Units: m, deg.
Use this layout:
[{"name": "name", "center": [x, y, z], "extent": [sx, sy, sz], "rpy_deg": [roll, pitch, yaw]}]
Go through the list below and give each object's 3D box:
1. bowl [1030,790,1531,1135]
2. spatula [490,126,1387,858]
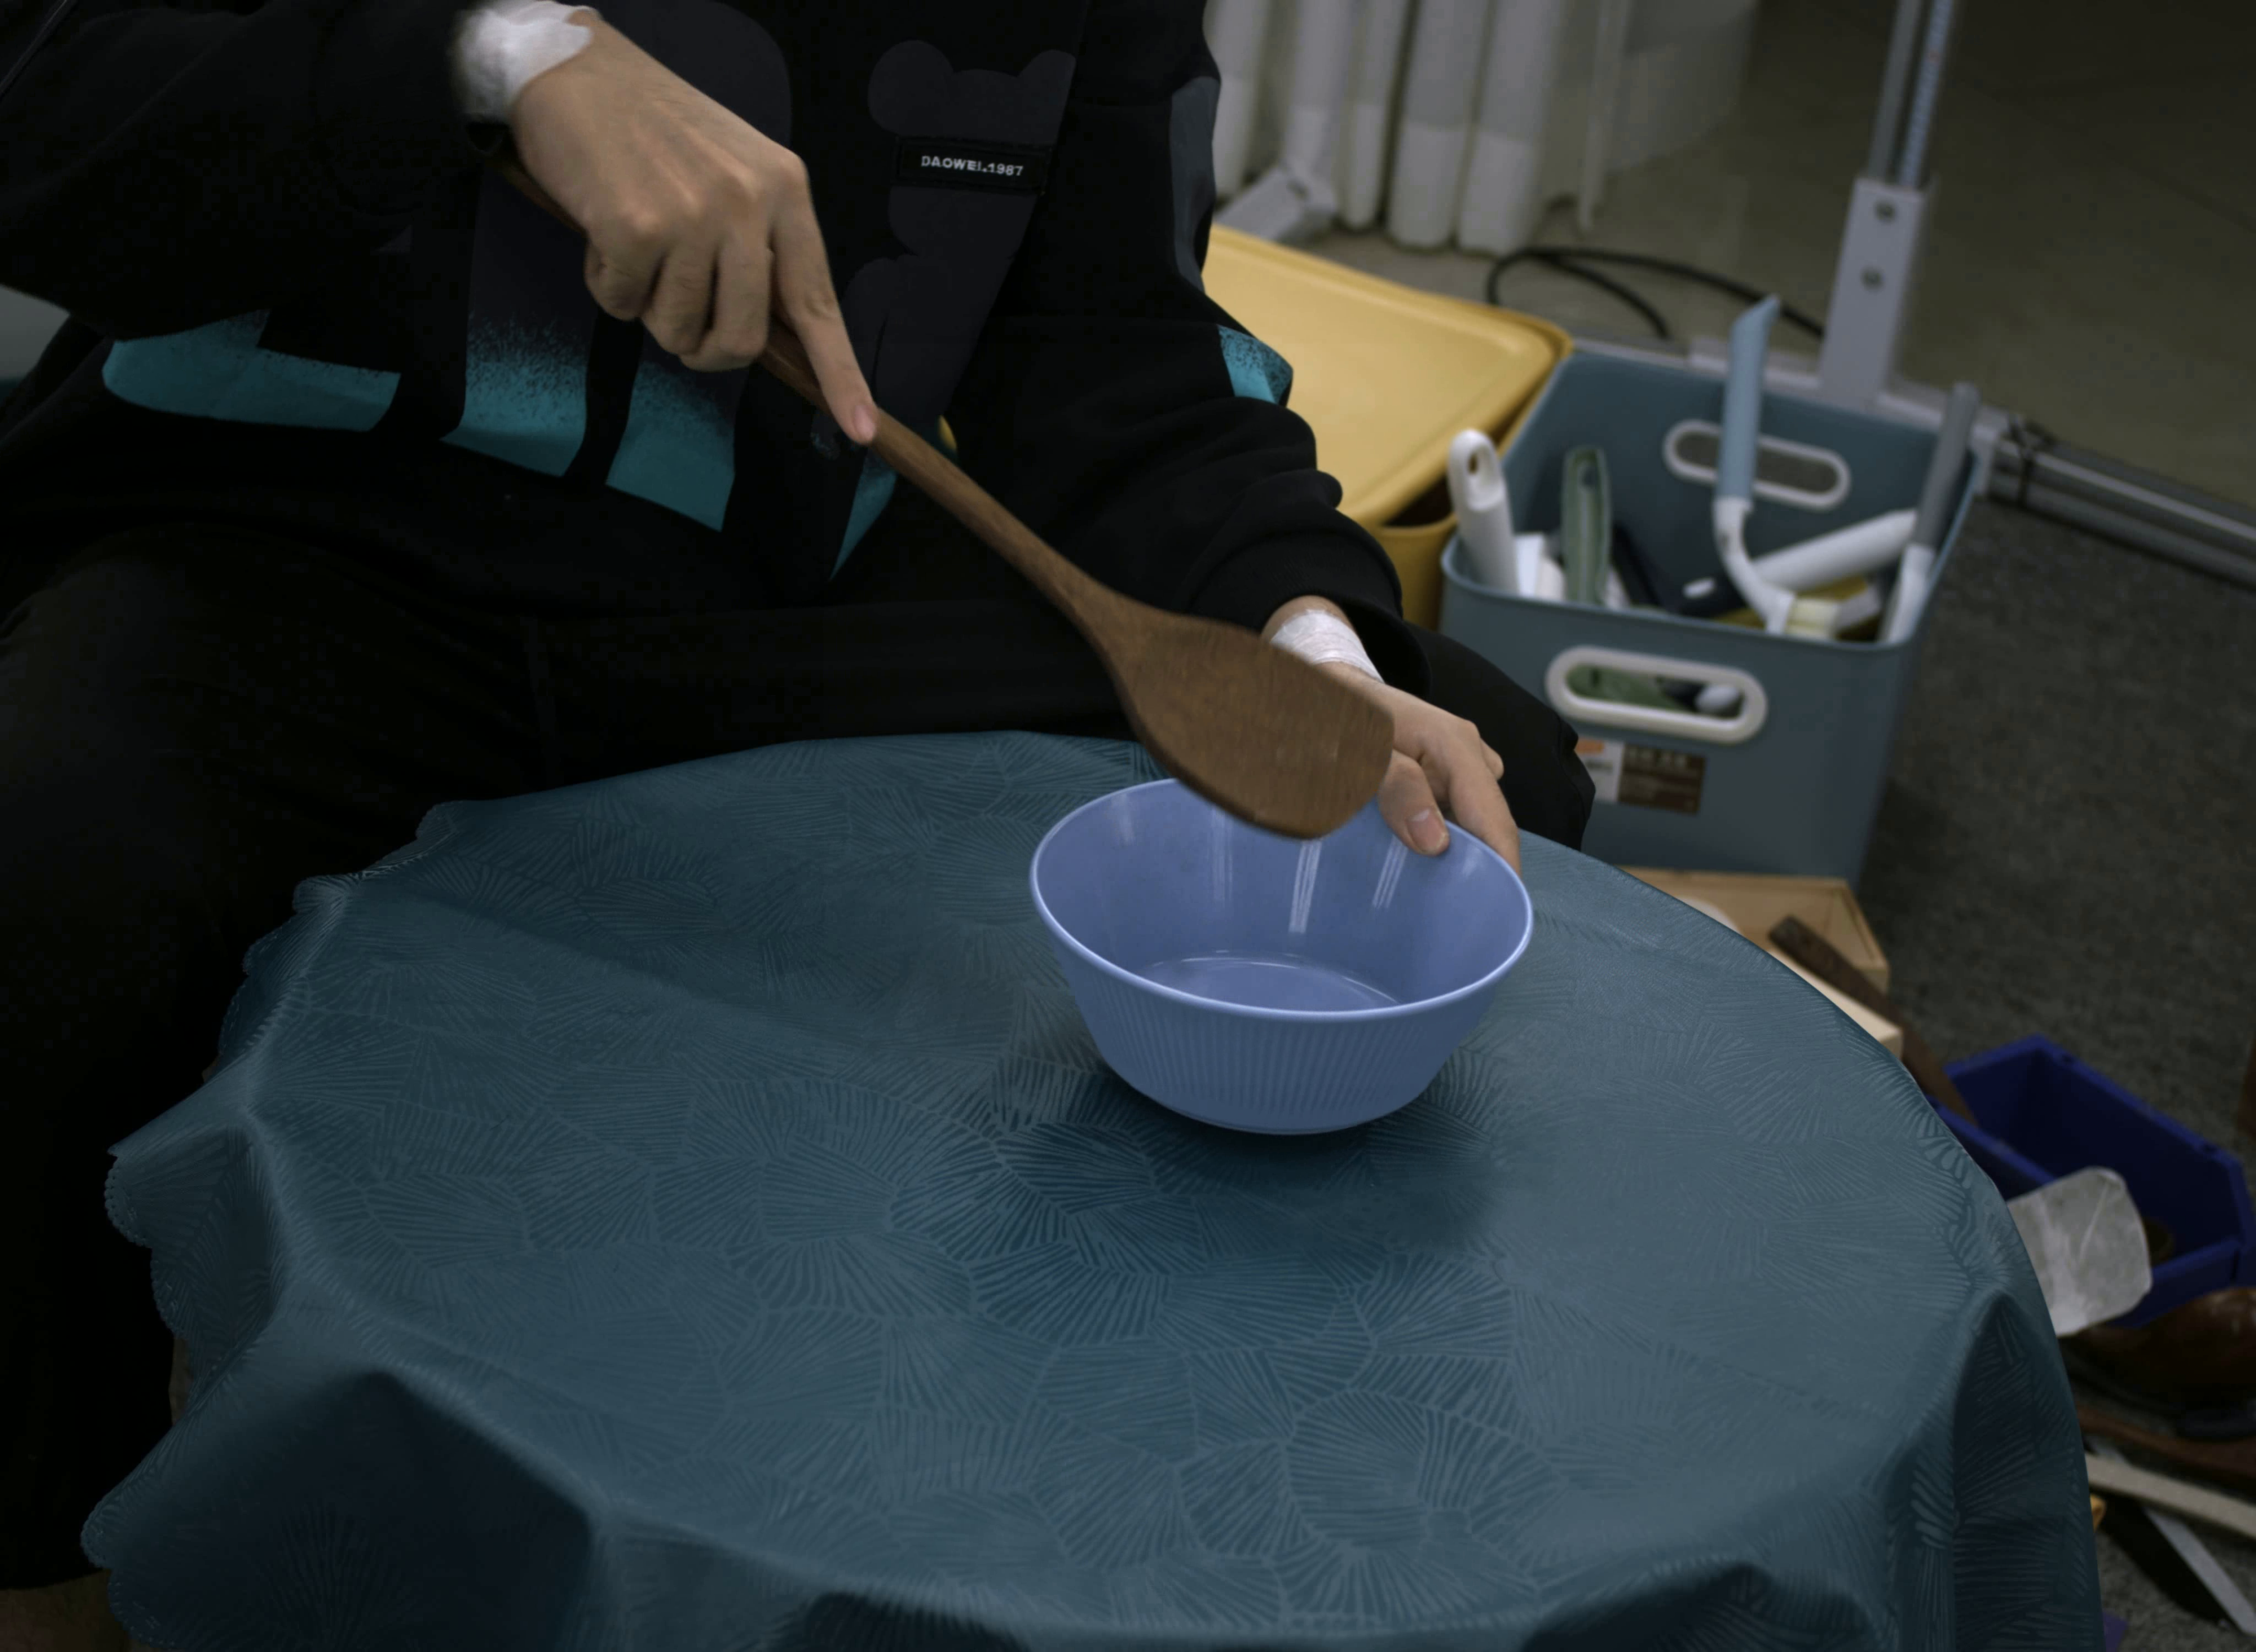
[{"name": "bowl", "center": [0.050, 0.052, 1.859], "extent": [0.175, 0.070, 0.177], "rpy_deg": [4, 25, -2]}, {"name": "spatula", "center": [-0.070, -0.121, 1.838], "extent": [0.386, 0.016, 0.096], "rpy_deg": [40, 38, 3]}]
